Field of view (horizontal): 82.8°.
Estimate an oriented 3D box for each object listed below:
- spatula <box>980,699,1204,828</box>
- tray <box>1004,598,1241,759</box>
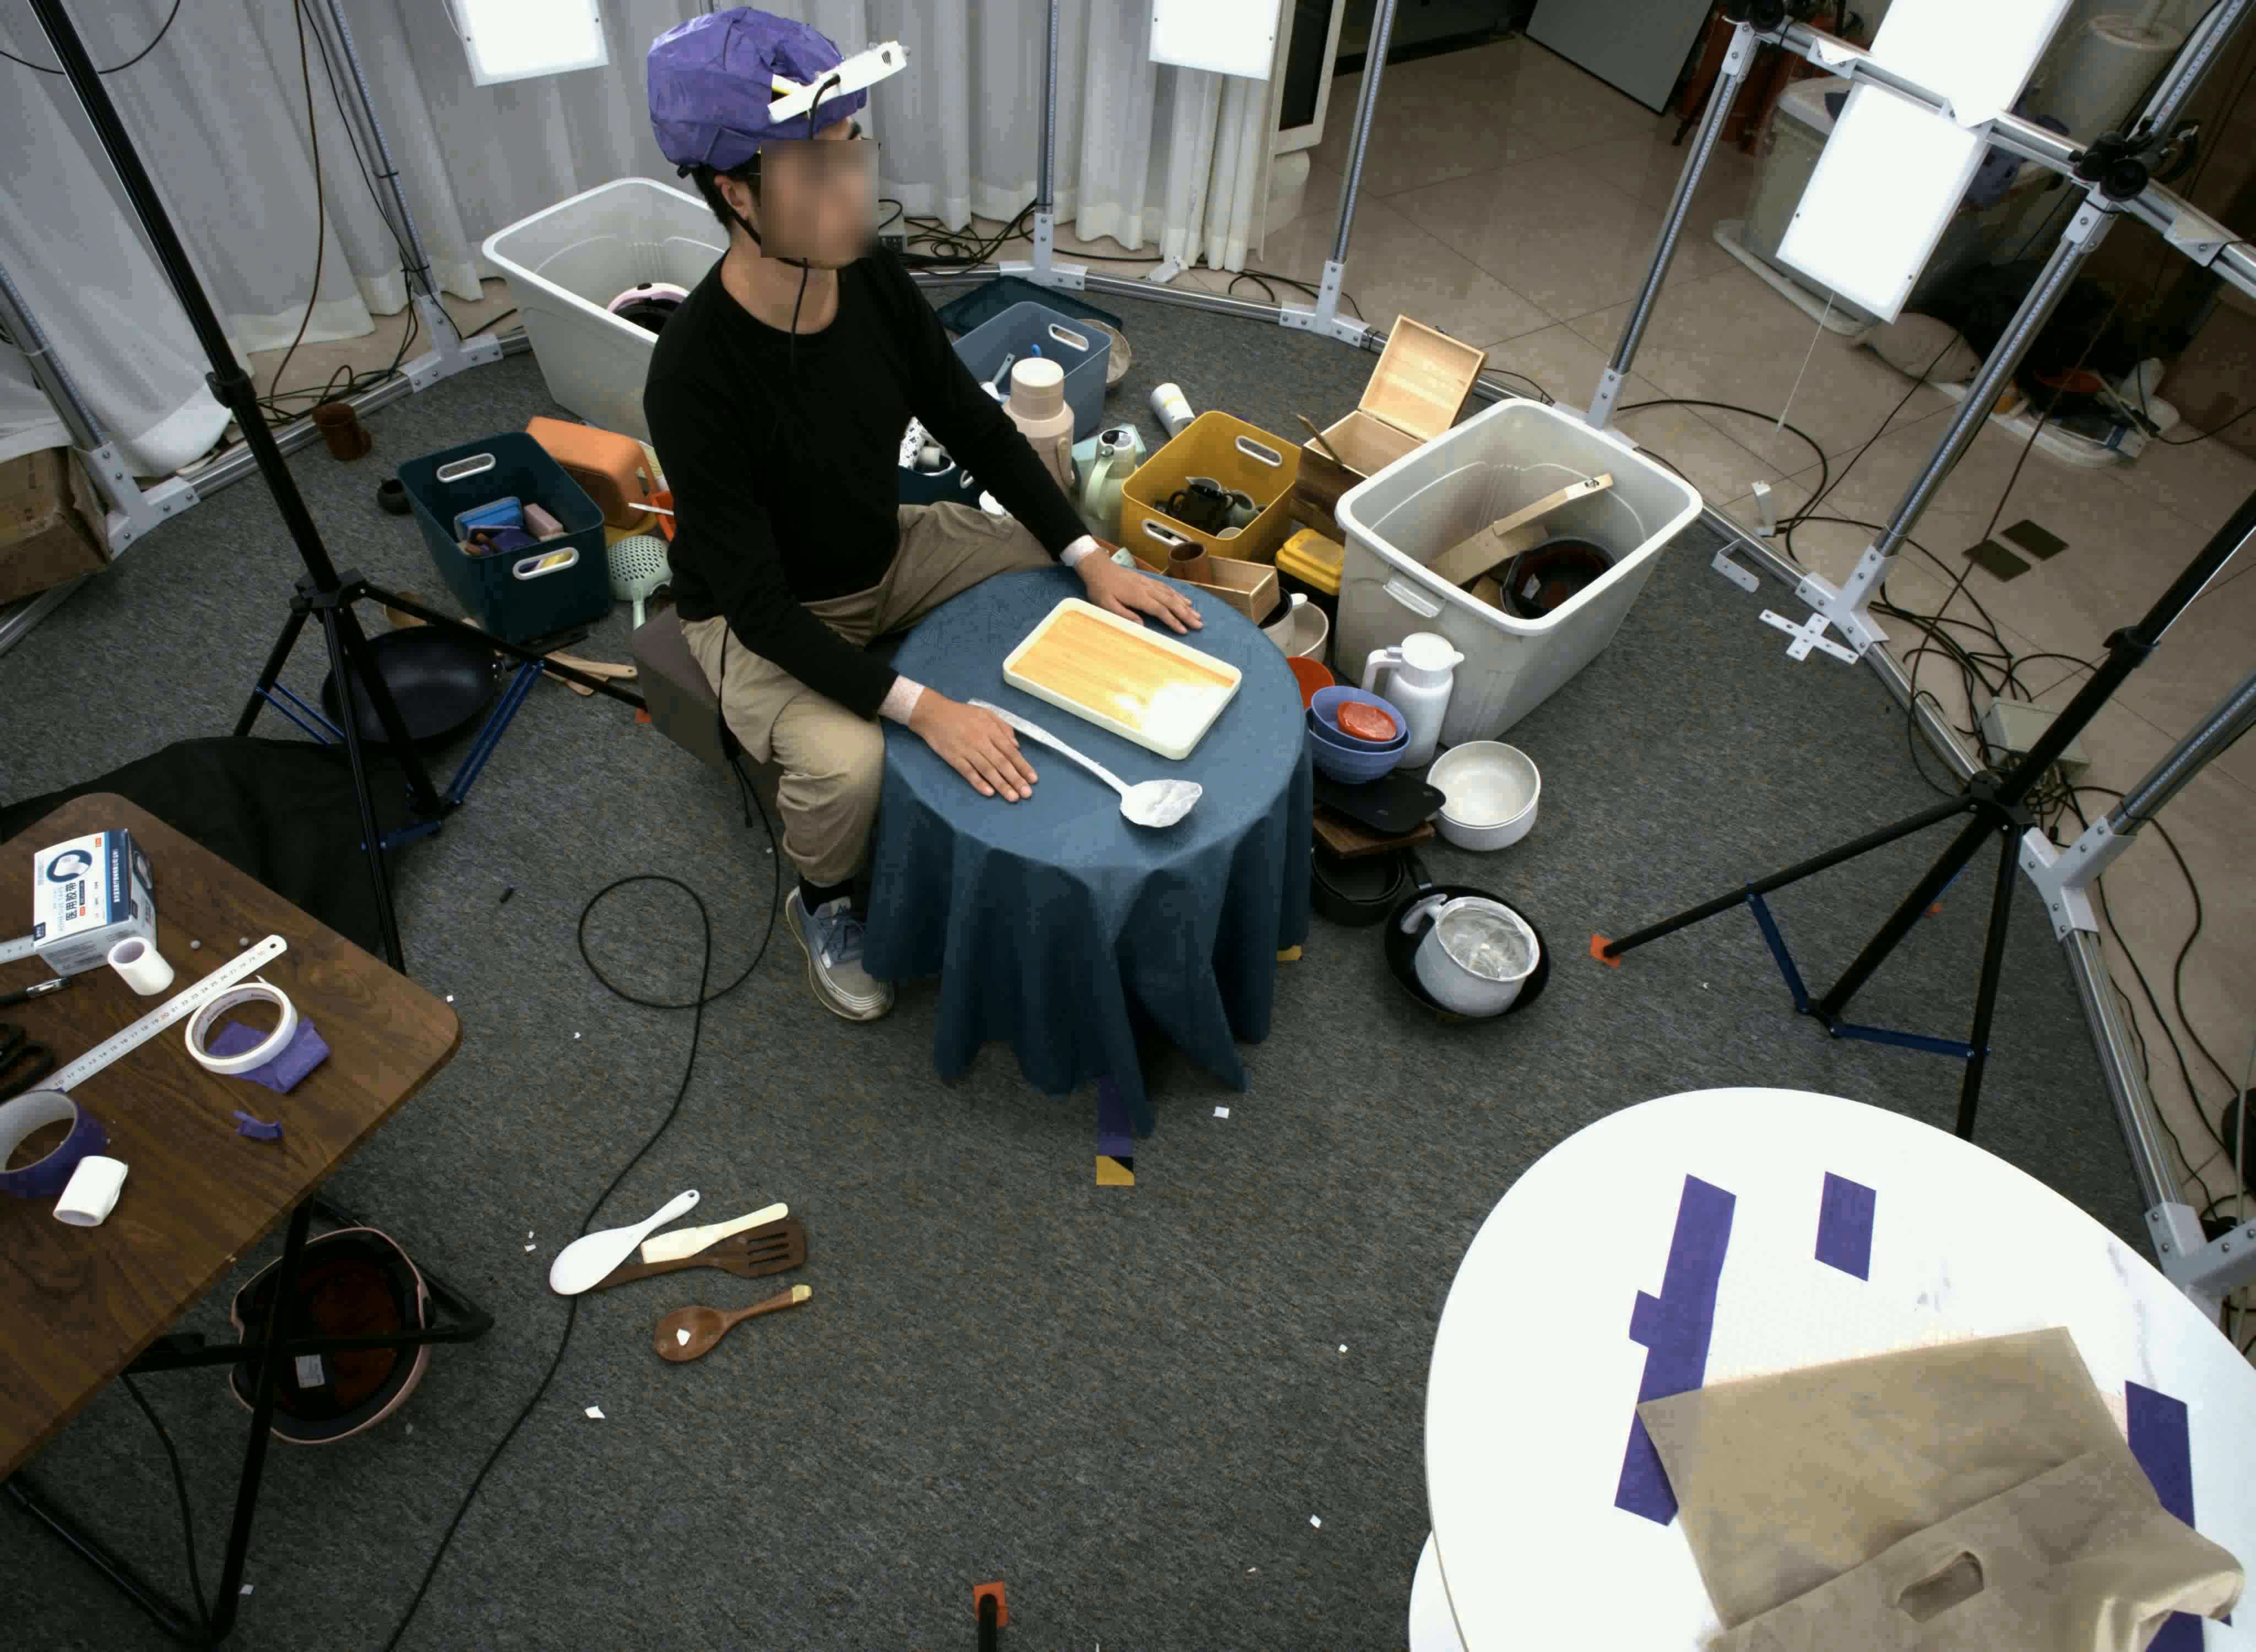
[{"bbox_3d":[-0.066,-0.097,1.724,0.369,0.044,0.100,31,55,21],"label":"spatula"},{"bbox_3d":[-0.008,-0.216,1.839,0.303,0.027,0.194,26,52,18],"label":"tray"}]
